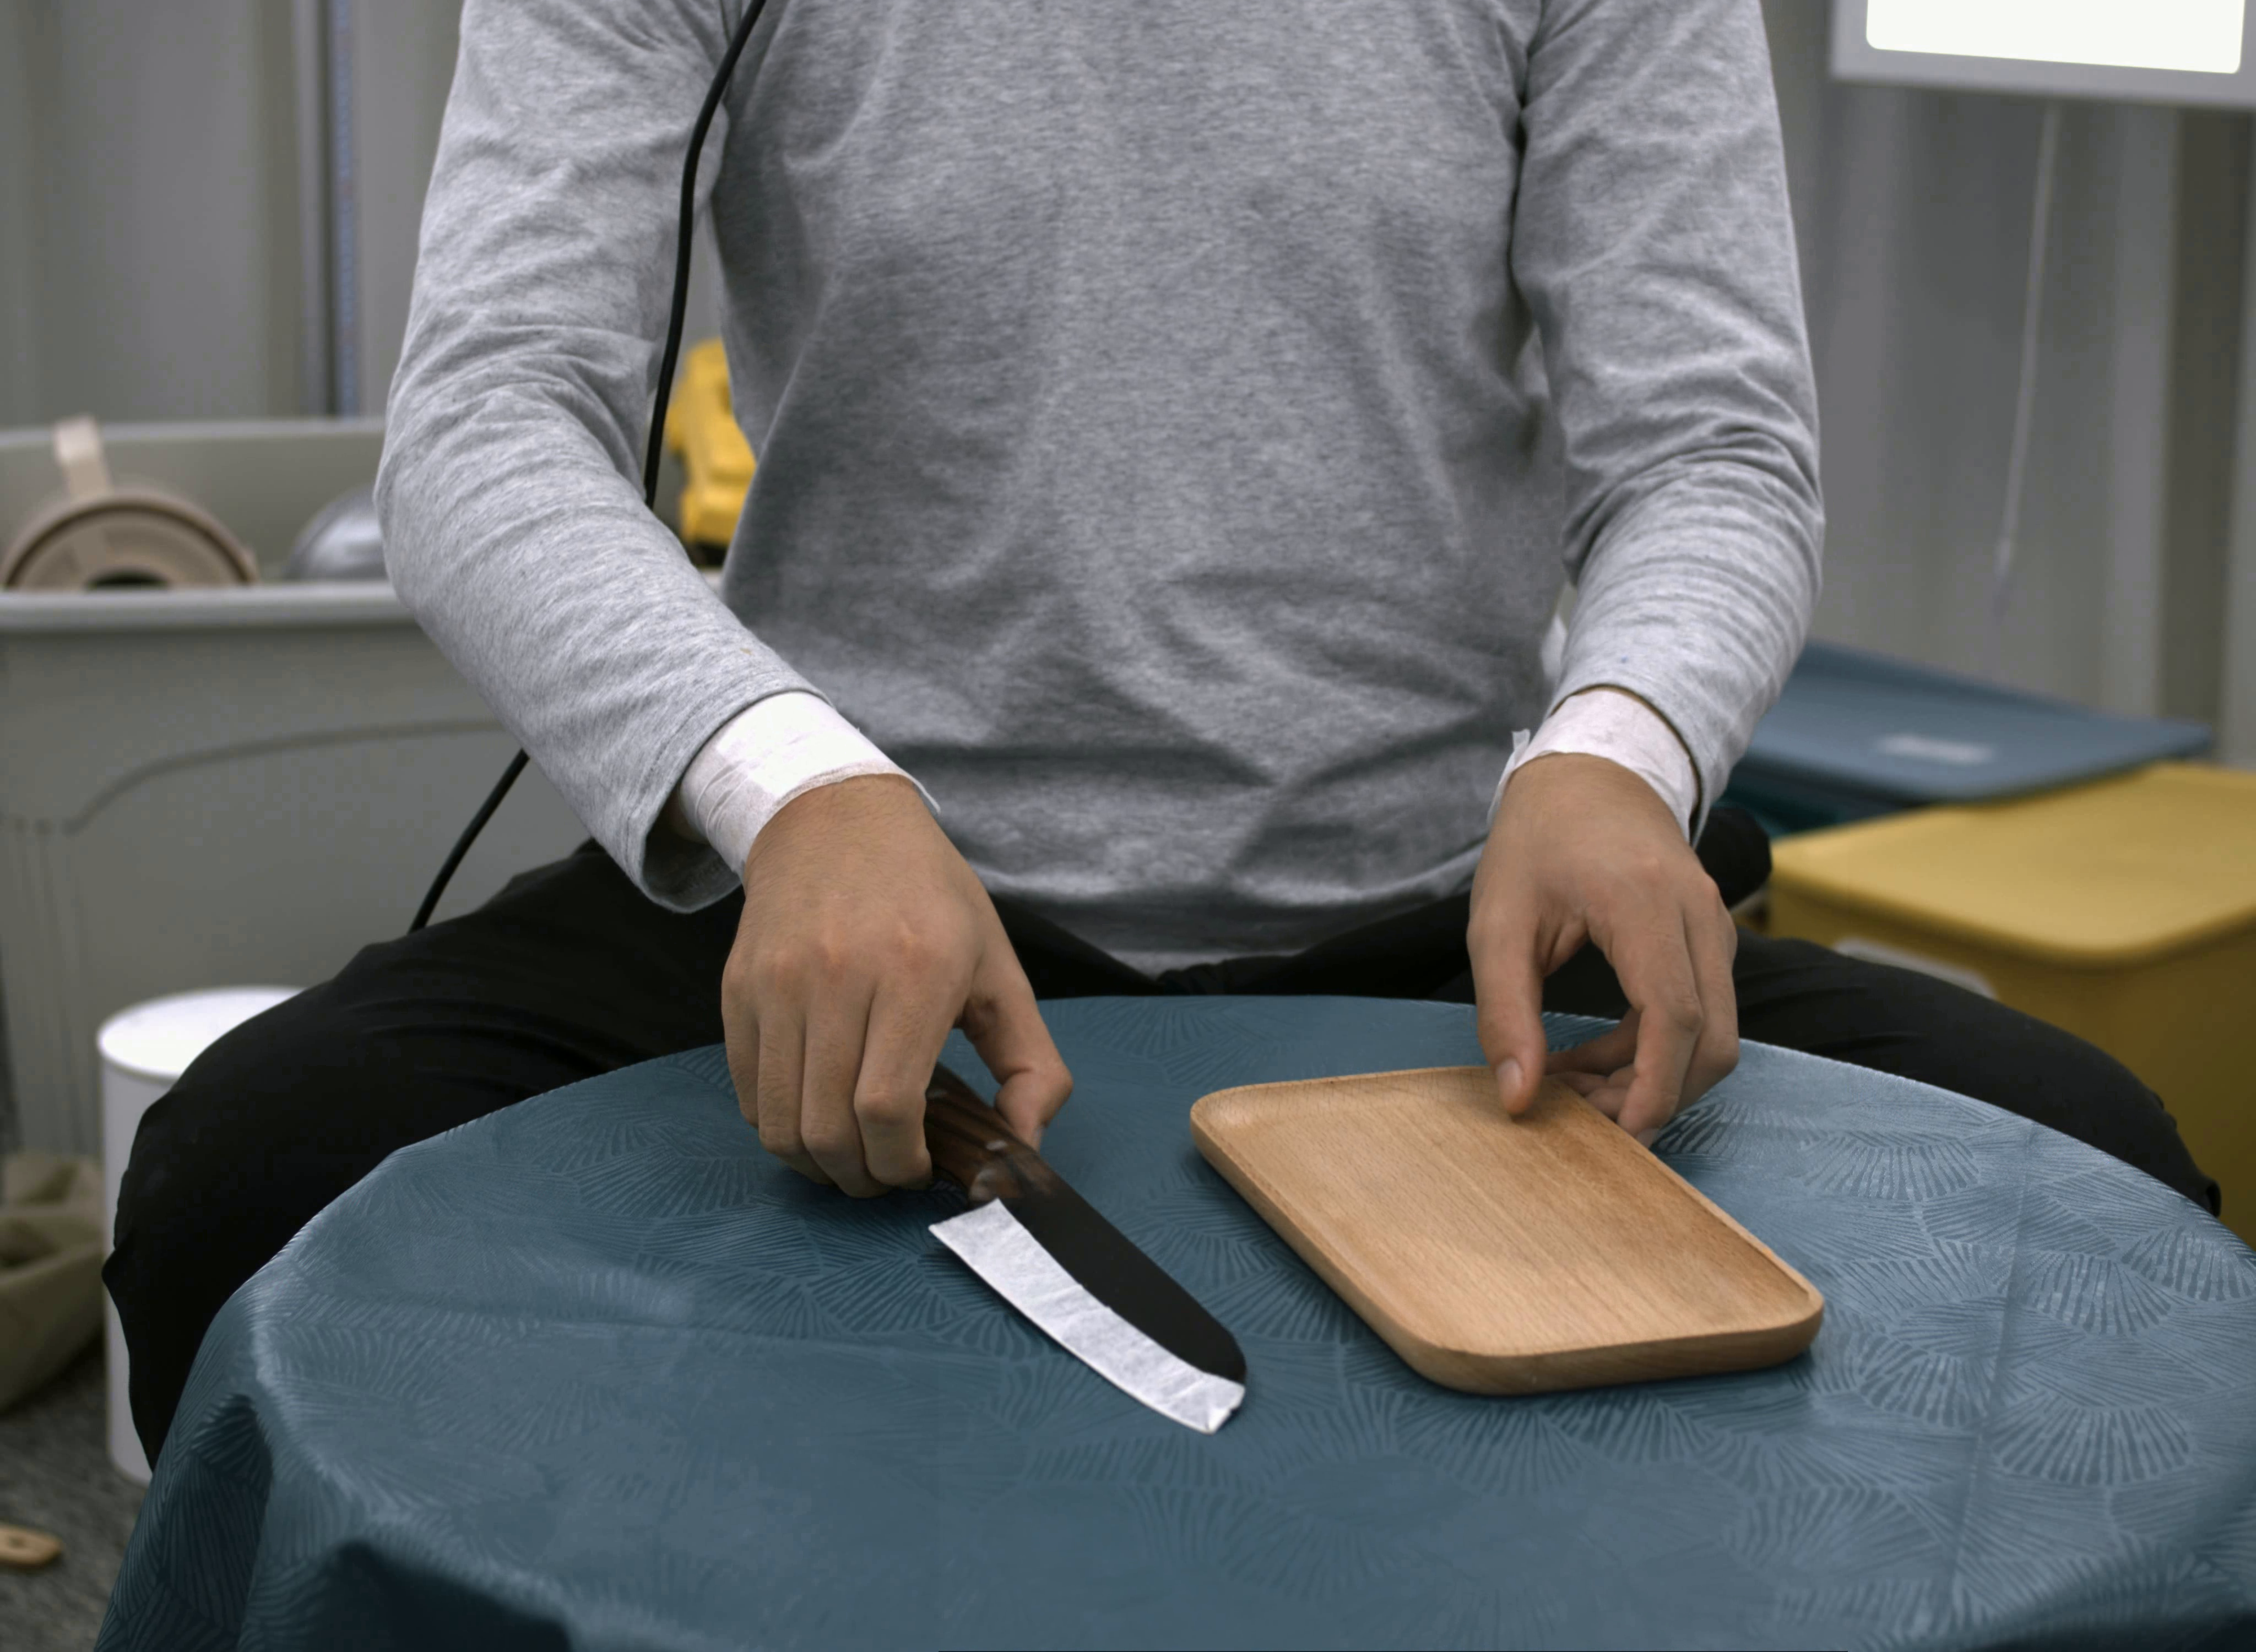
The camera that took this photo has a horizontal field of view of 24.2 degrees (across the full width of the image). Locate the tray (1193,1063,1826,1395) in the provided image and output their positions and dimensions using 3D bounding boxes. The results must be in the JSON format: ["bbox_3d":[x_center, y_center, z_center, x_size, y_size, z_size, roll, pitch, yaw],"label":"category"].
[{"bbox_3d":[0.109,0.118,1.580,0.131,0.023,0.248,-2,15,-16],"label":"tray"}]

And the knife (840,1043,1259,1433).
[{"bbox_3d":[-0.027,0.121,1.557,0.050,0.020,0.285,-18,24,-17],"label":"knife"}]
